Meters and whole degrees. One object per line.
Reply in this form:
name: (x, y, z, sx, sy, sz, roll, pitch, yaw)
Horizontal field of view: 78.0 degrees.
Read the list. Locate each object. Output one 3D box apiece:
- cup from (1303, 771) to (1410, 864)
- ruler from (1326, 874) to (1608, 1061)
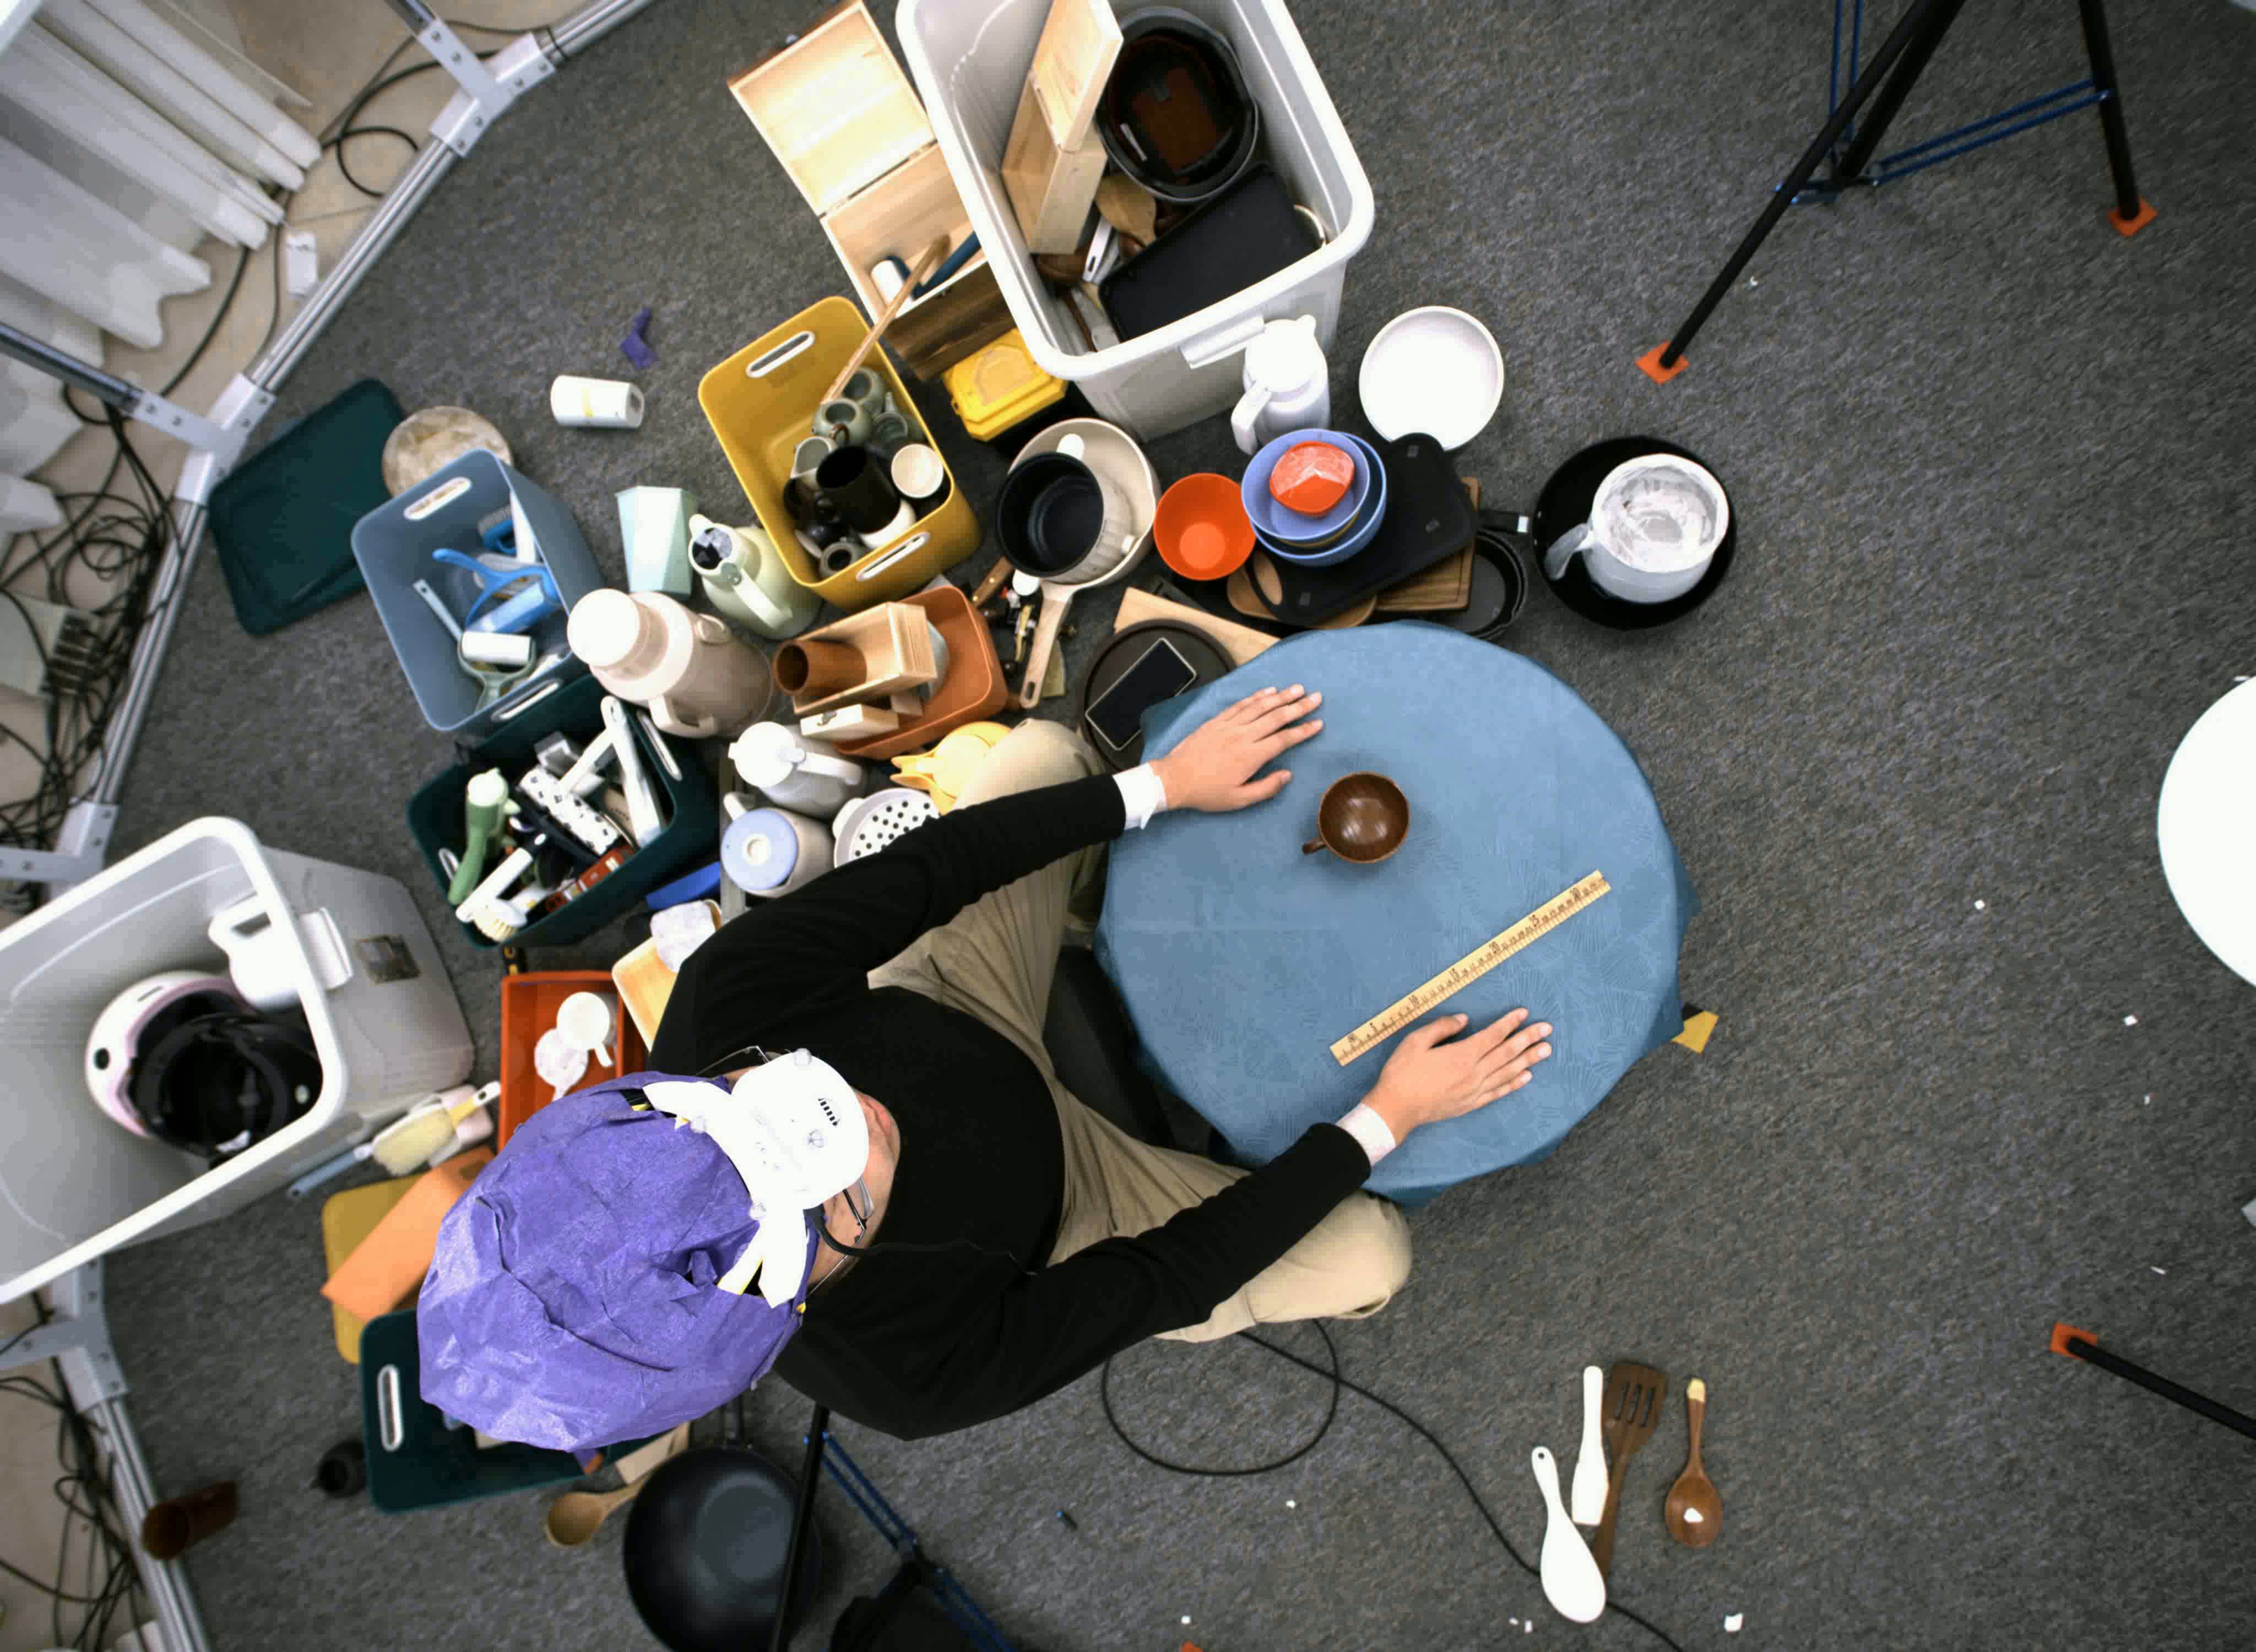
cup: (0.235, -0.003, 1.438, 0.120, 0.067, 0.095, -30, 83, 8)
ruler: (0.352, 0.146, 1.435, 0.333, 0.022, 0.027, -33, 76, 7)
